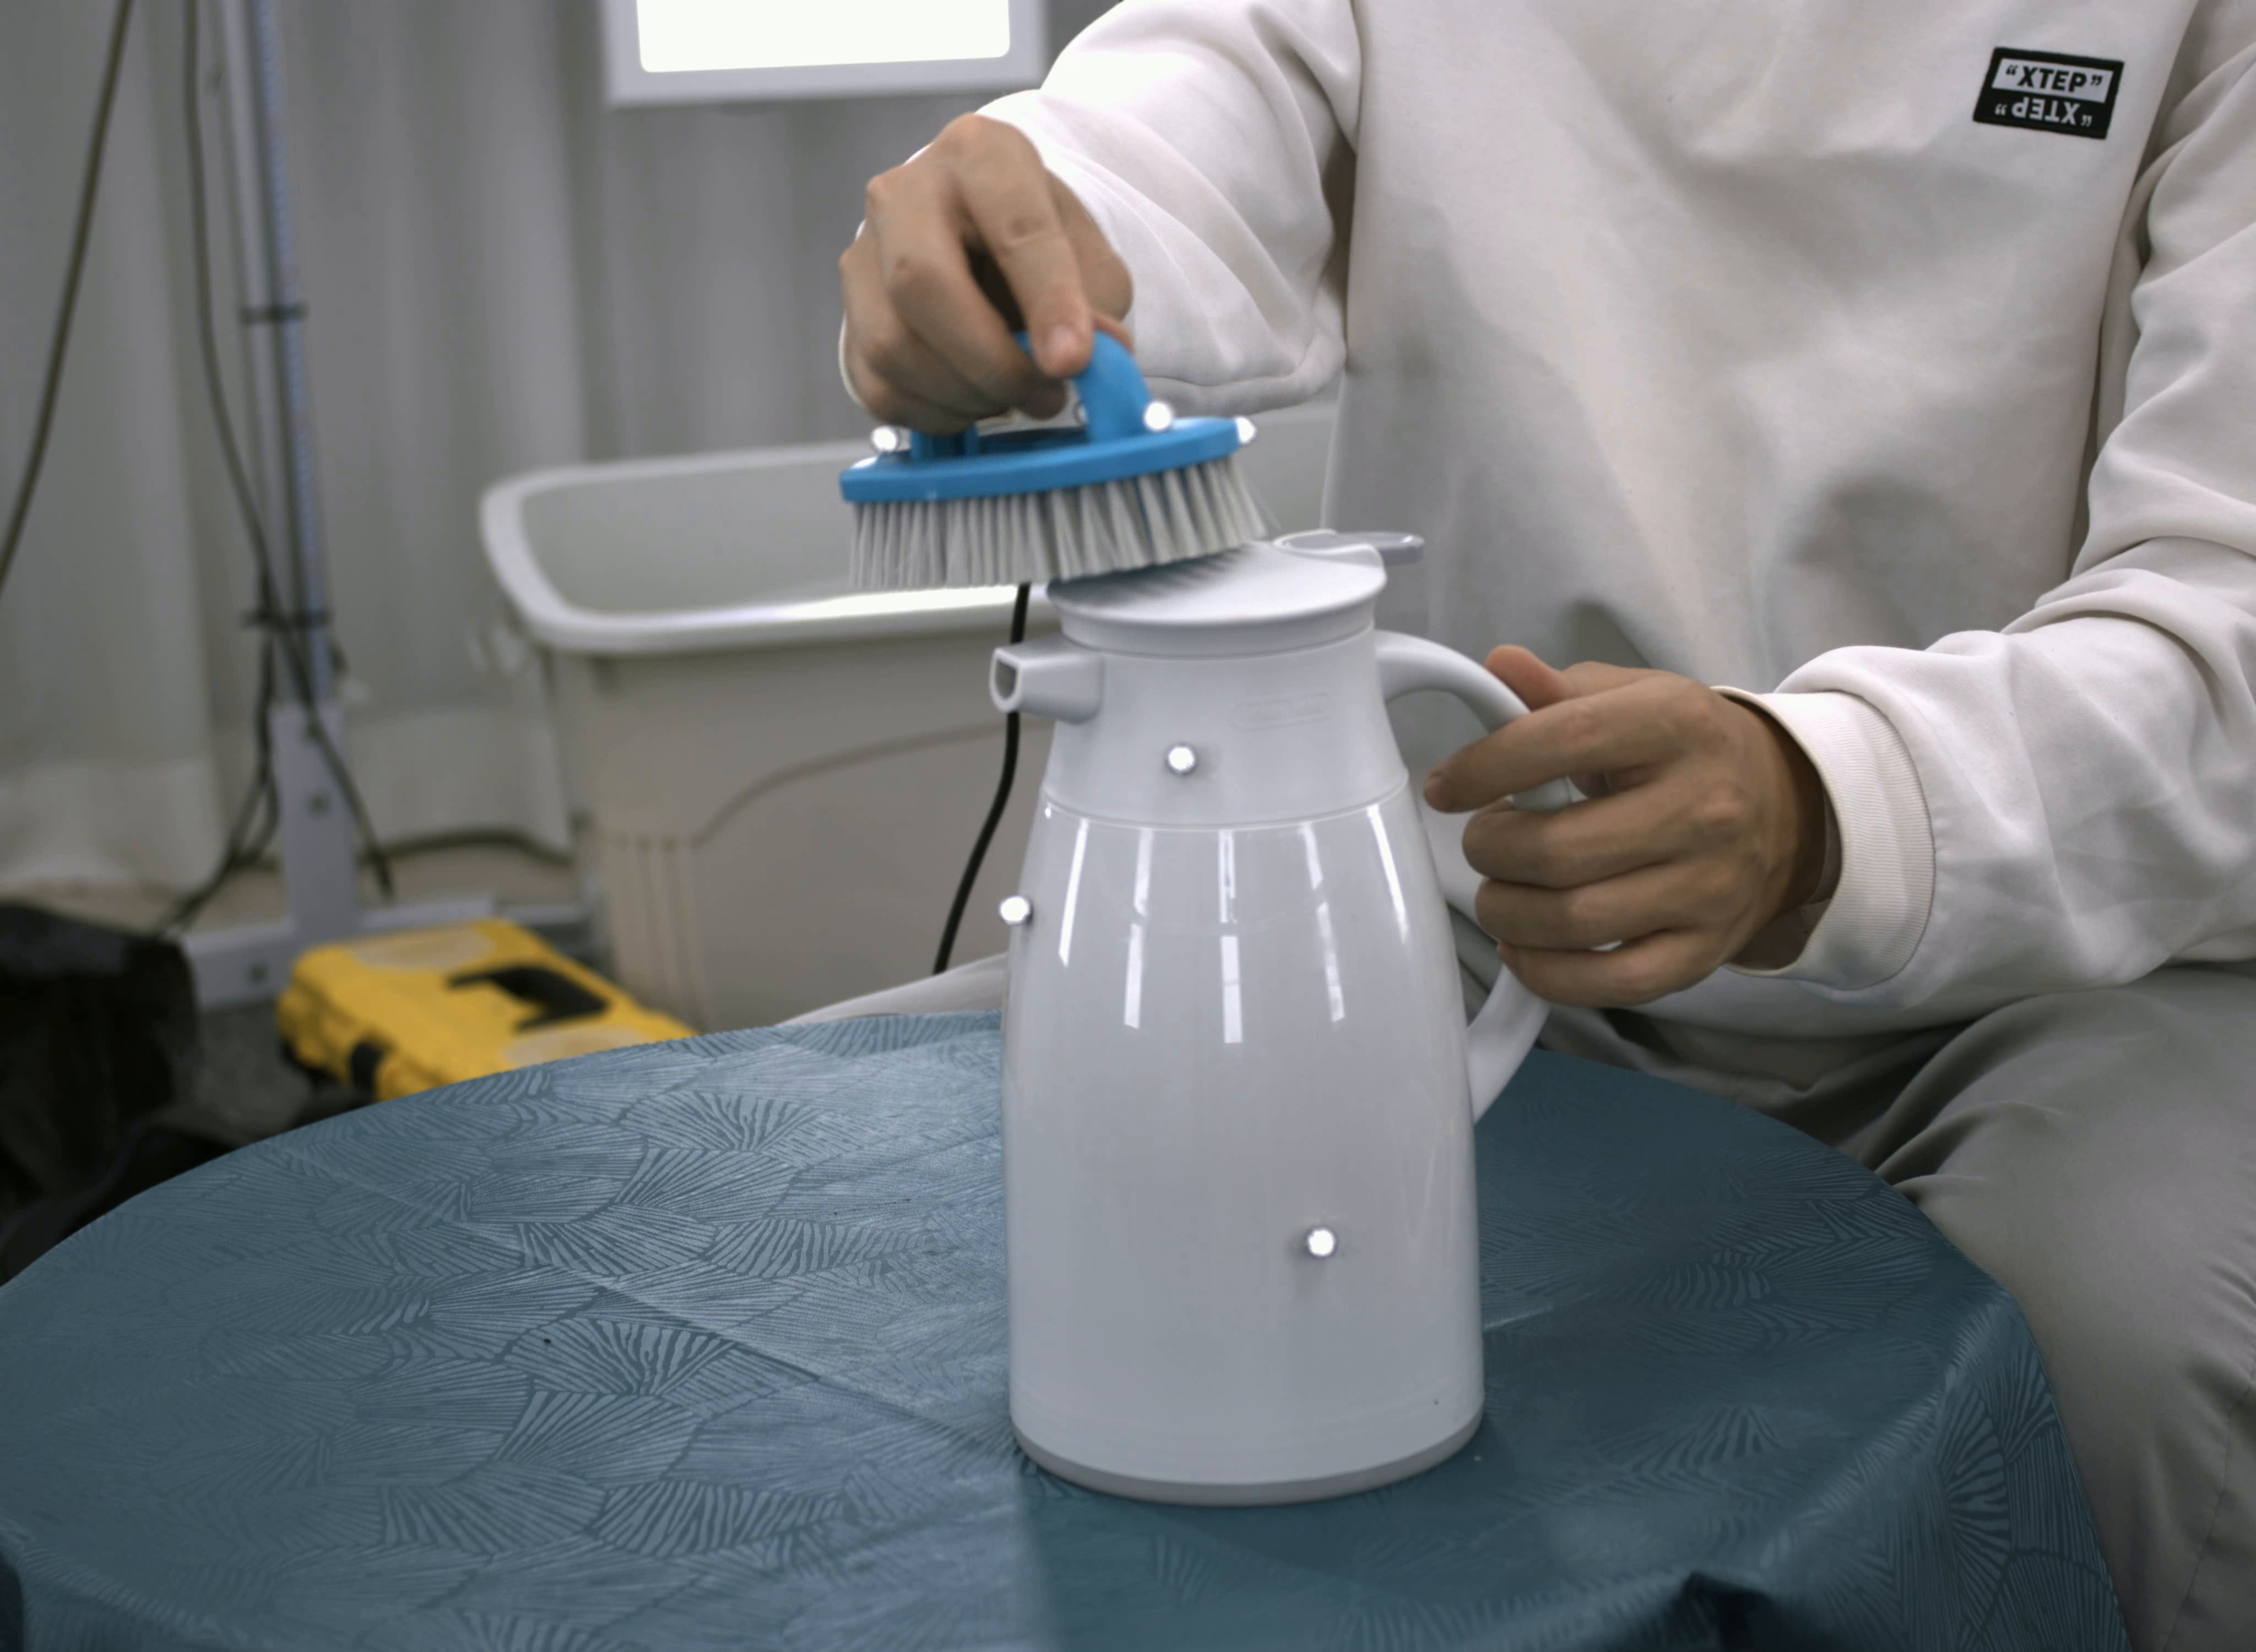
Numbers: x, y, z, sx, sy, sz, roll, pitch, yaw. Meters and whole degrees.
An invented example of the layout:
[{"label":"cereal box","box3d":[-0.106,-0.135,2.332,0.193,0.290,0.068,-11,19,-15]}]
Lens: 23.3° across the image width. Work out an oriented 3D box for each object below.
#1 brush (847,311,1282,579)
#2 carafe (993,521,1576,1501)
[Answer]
[{"label":"brush","box3d":[-0.023,-0.107,1.493,0.084,0.064,0.142,-18,10,-33]},{"label":"carafe","box3d":[0.045,0.042,1.501,0.167,0.248,0.133,-8,14,-23]}]
